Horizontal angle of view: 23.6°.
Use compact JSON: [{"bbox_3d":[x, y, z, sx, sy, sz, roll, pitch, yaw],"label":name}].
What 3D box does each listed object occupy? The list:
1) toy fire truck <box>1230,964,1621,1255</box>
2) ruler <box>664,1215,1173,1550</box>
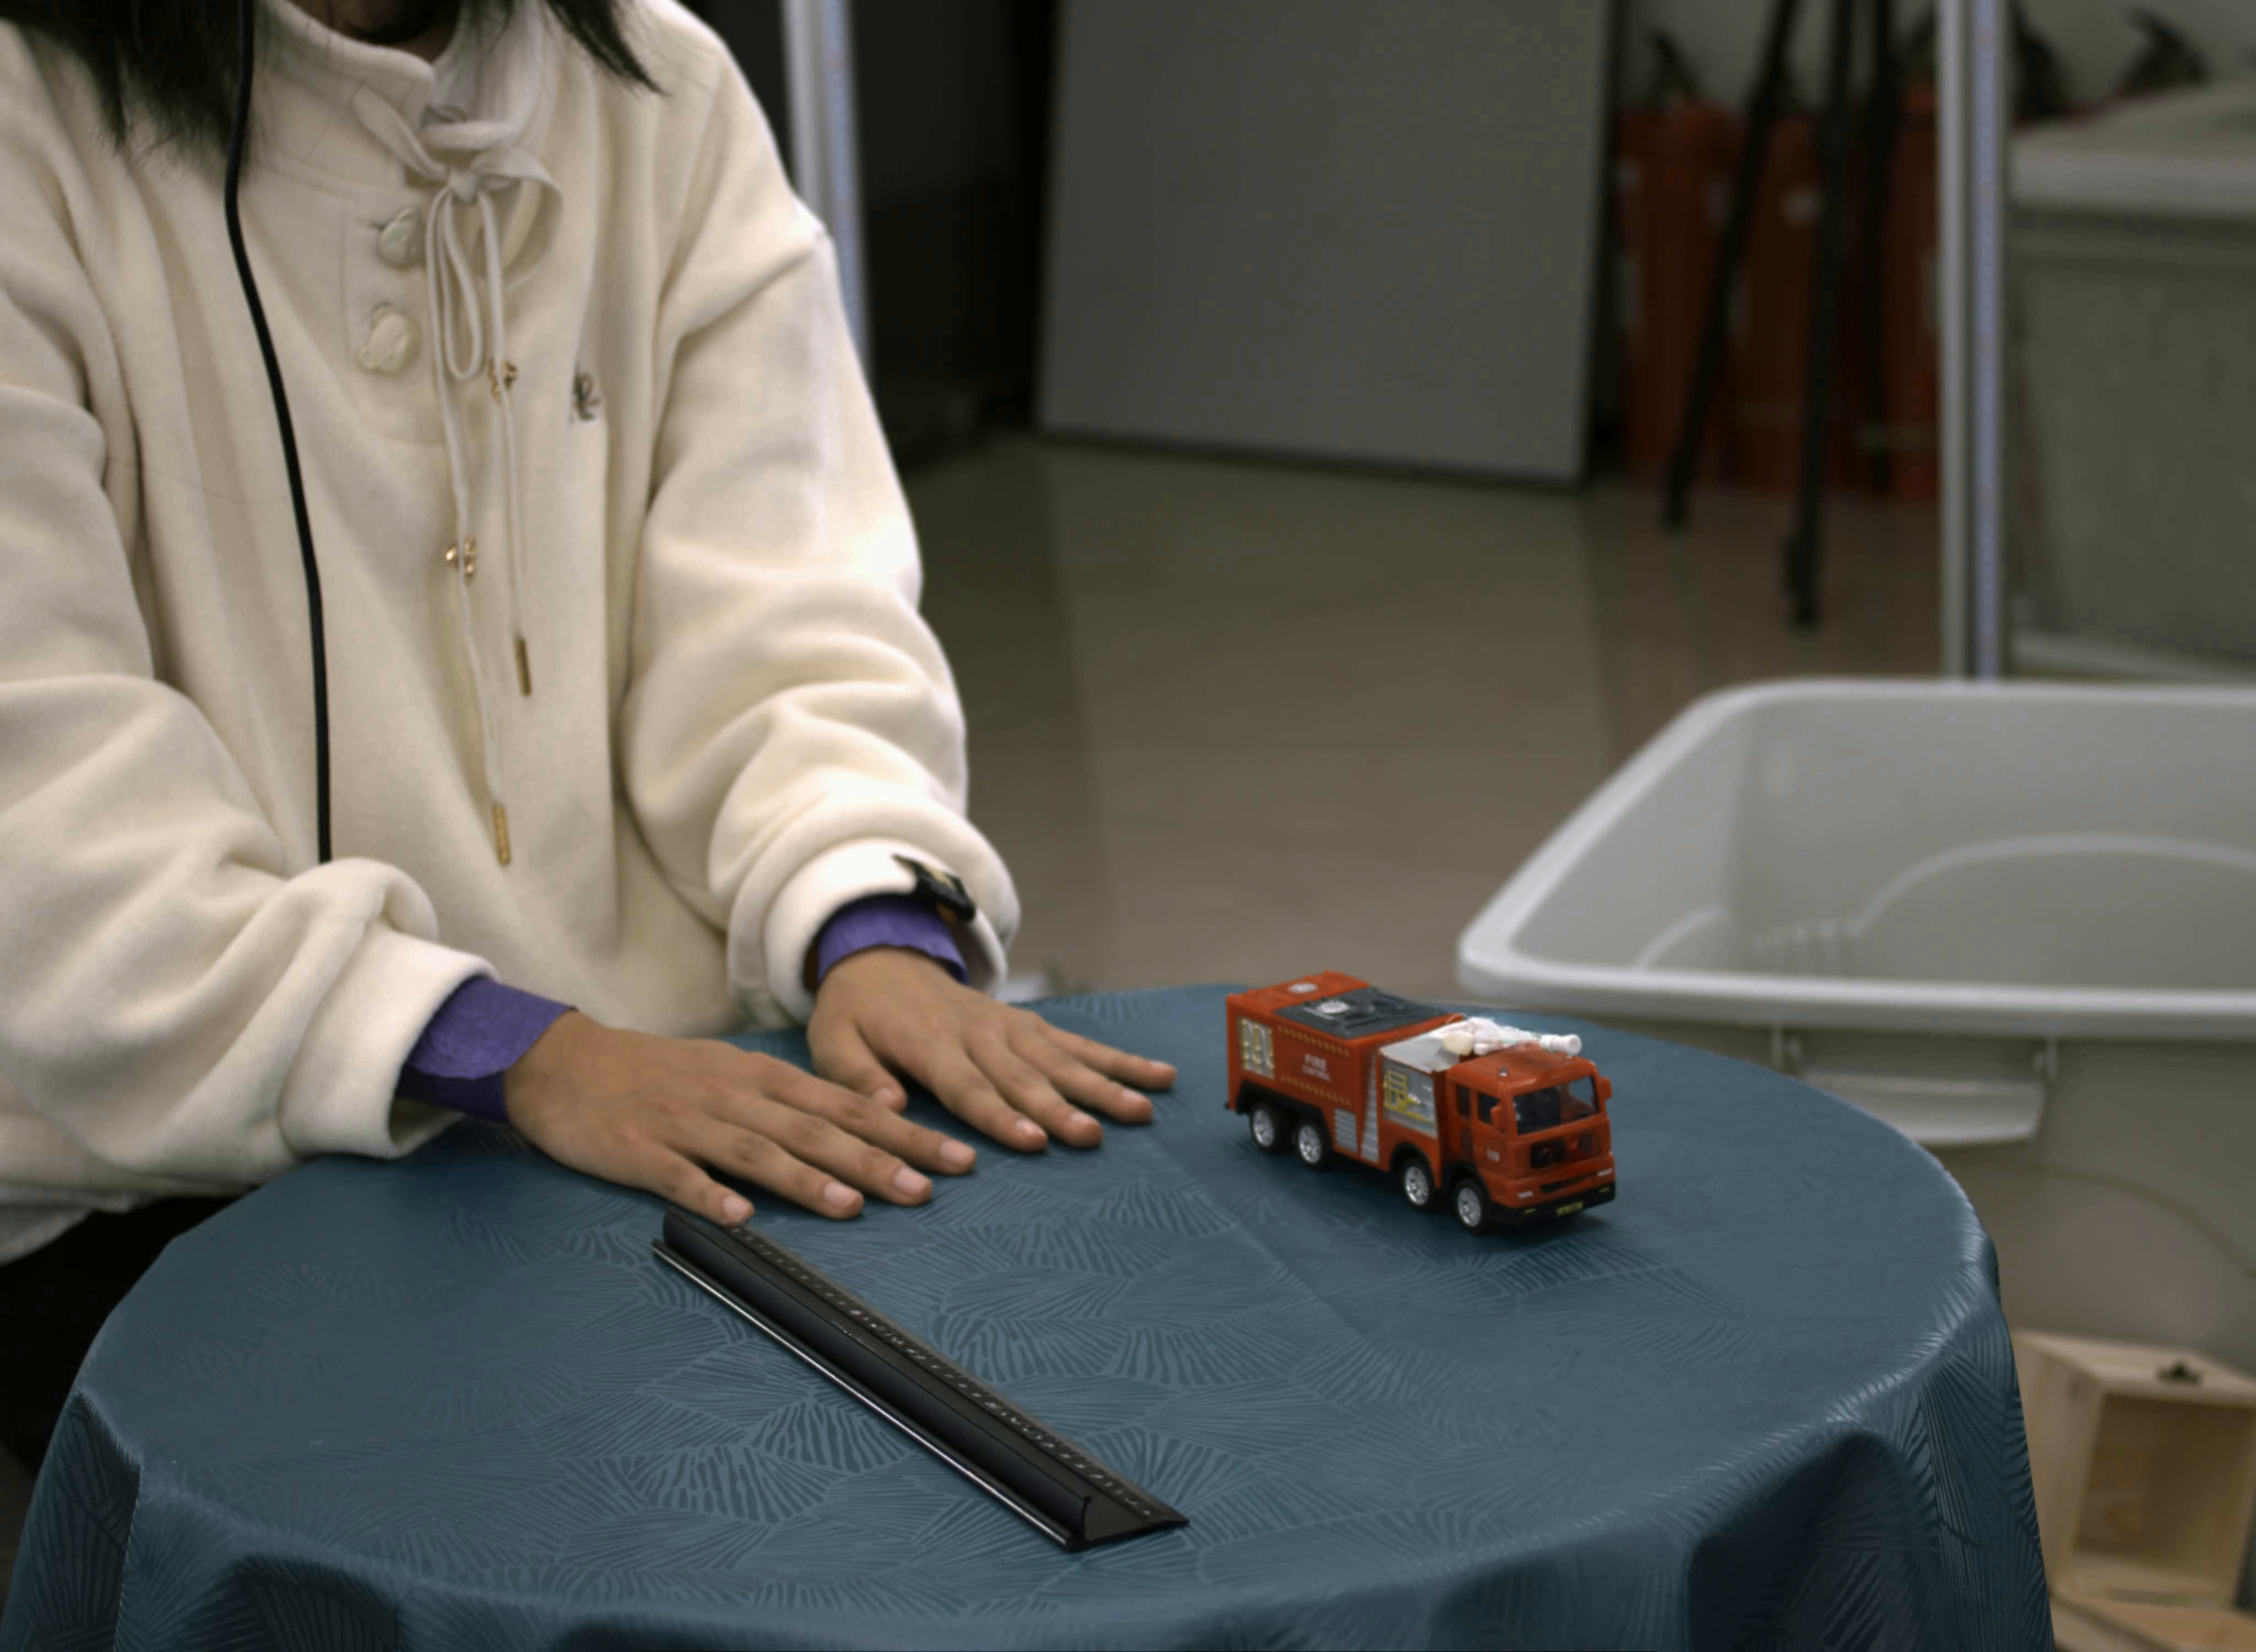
[{"bbox_3d":[0.096,0.088,1.752,0.053,0.071,0.170,-13,15,-30],"label":"toy fire truck"},{"bbox_3d":[-0.067,0.158,1.605,0.038,0.017,0.316,-7,13,-24],"label":"ruler"}]
